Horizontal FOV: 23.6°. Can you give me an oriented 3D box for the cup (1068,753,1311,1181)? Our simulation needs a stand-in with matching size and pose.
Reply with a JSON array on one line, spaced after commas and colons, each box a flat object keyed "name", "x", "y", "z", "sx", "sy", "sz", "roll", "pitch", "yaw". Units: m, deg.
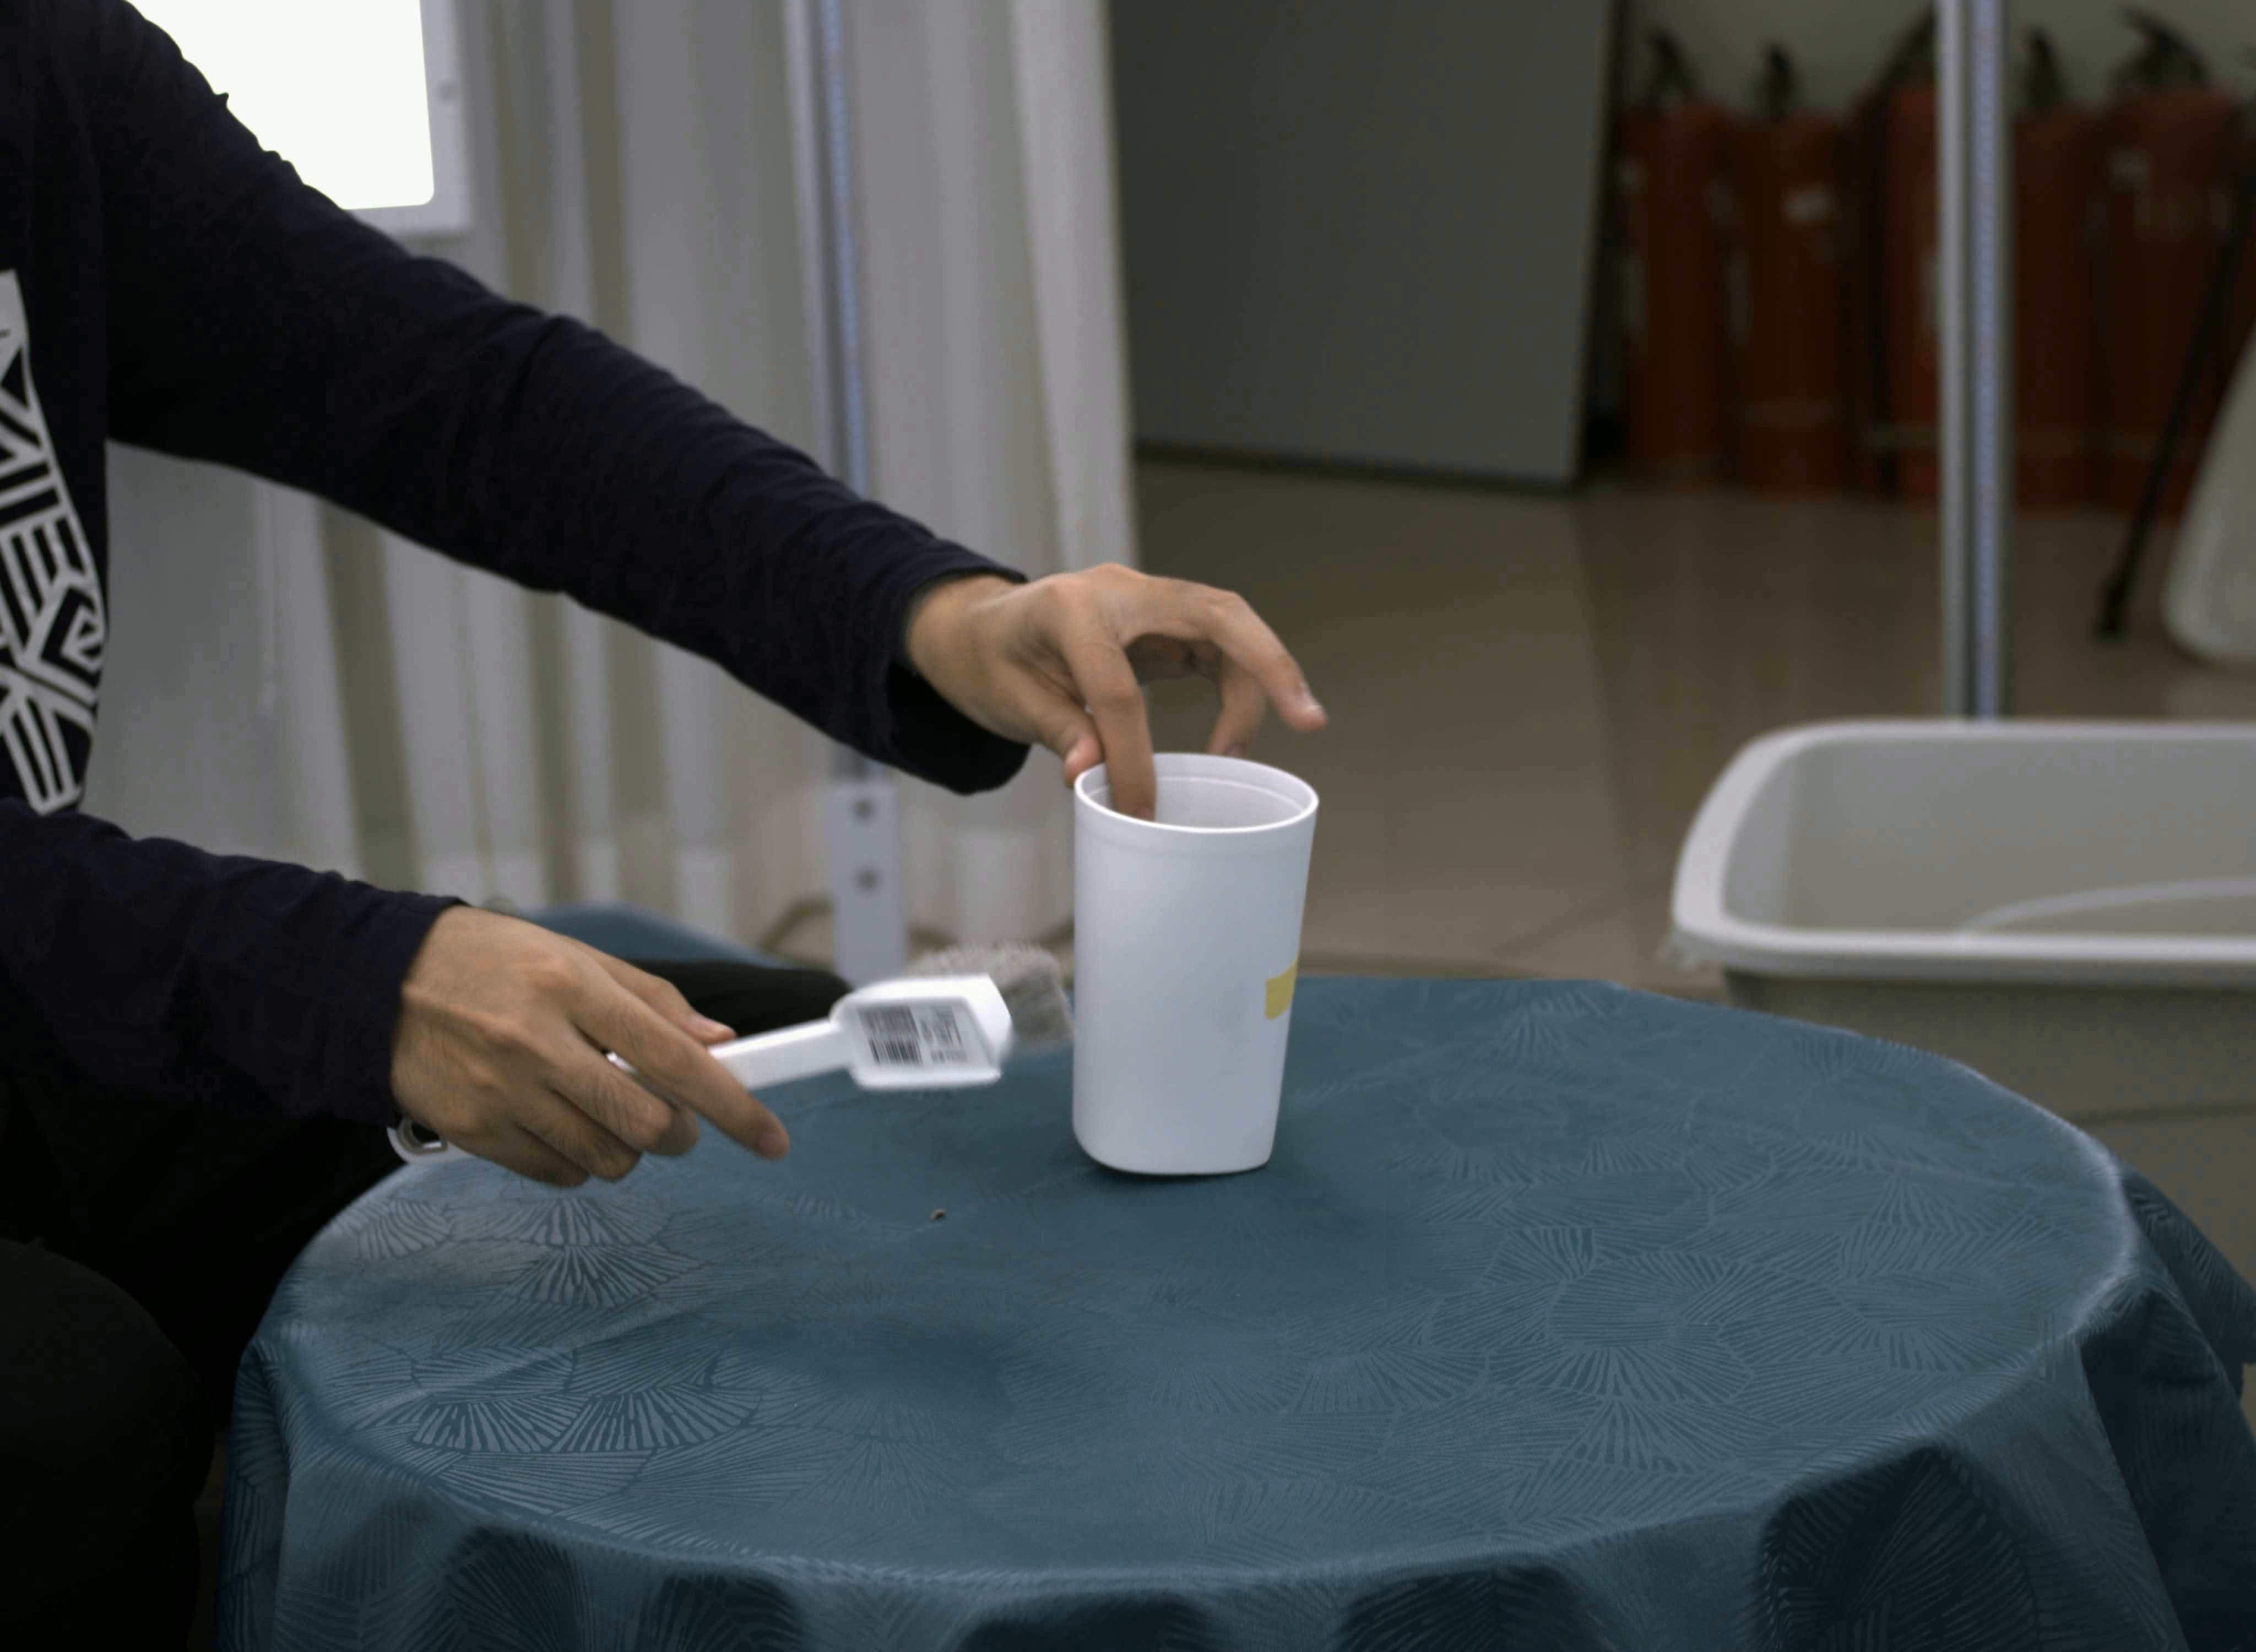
[{"name": "cup", "x": 0.018, "y": 0.048, "z": 1.791, "sx": 0.080, "sy": 0.127, "sz": 0.082, "roll": 2, "pitch": 17, "yaw": -1}]

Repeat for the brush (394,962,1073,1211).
[{"name": "brush", "x": -0.125, "y": 0.083, "z": 1.699, "sx": 0.244, "sy": 0.034, "sz": 0.049, "roll": -14, "pitch": 11, "yaw": 30}]
